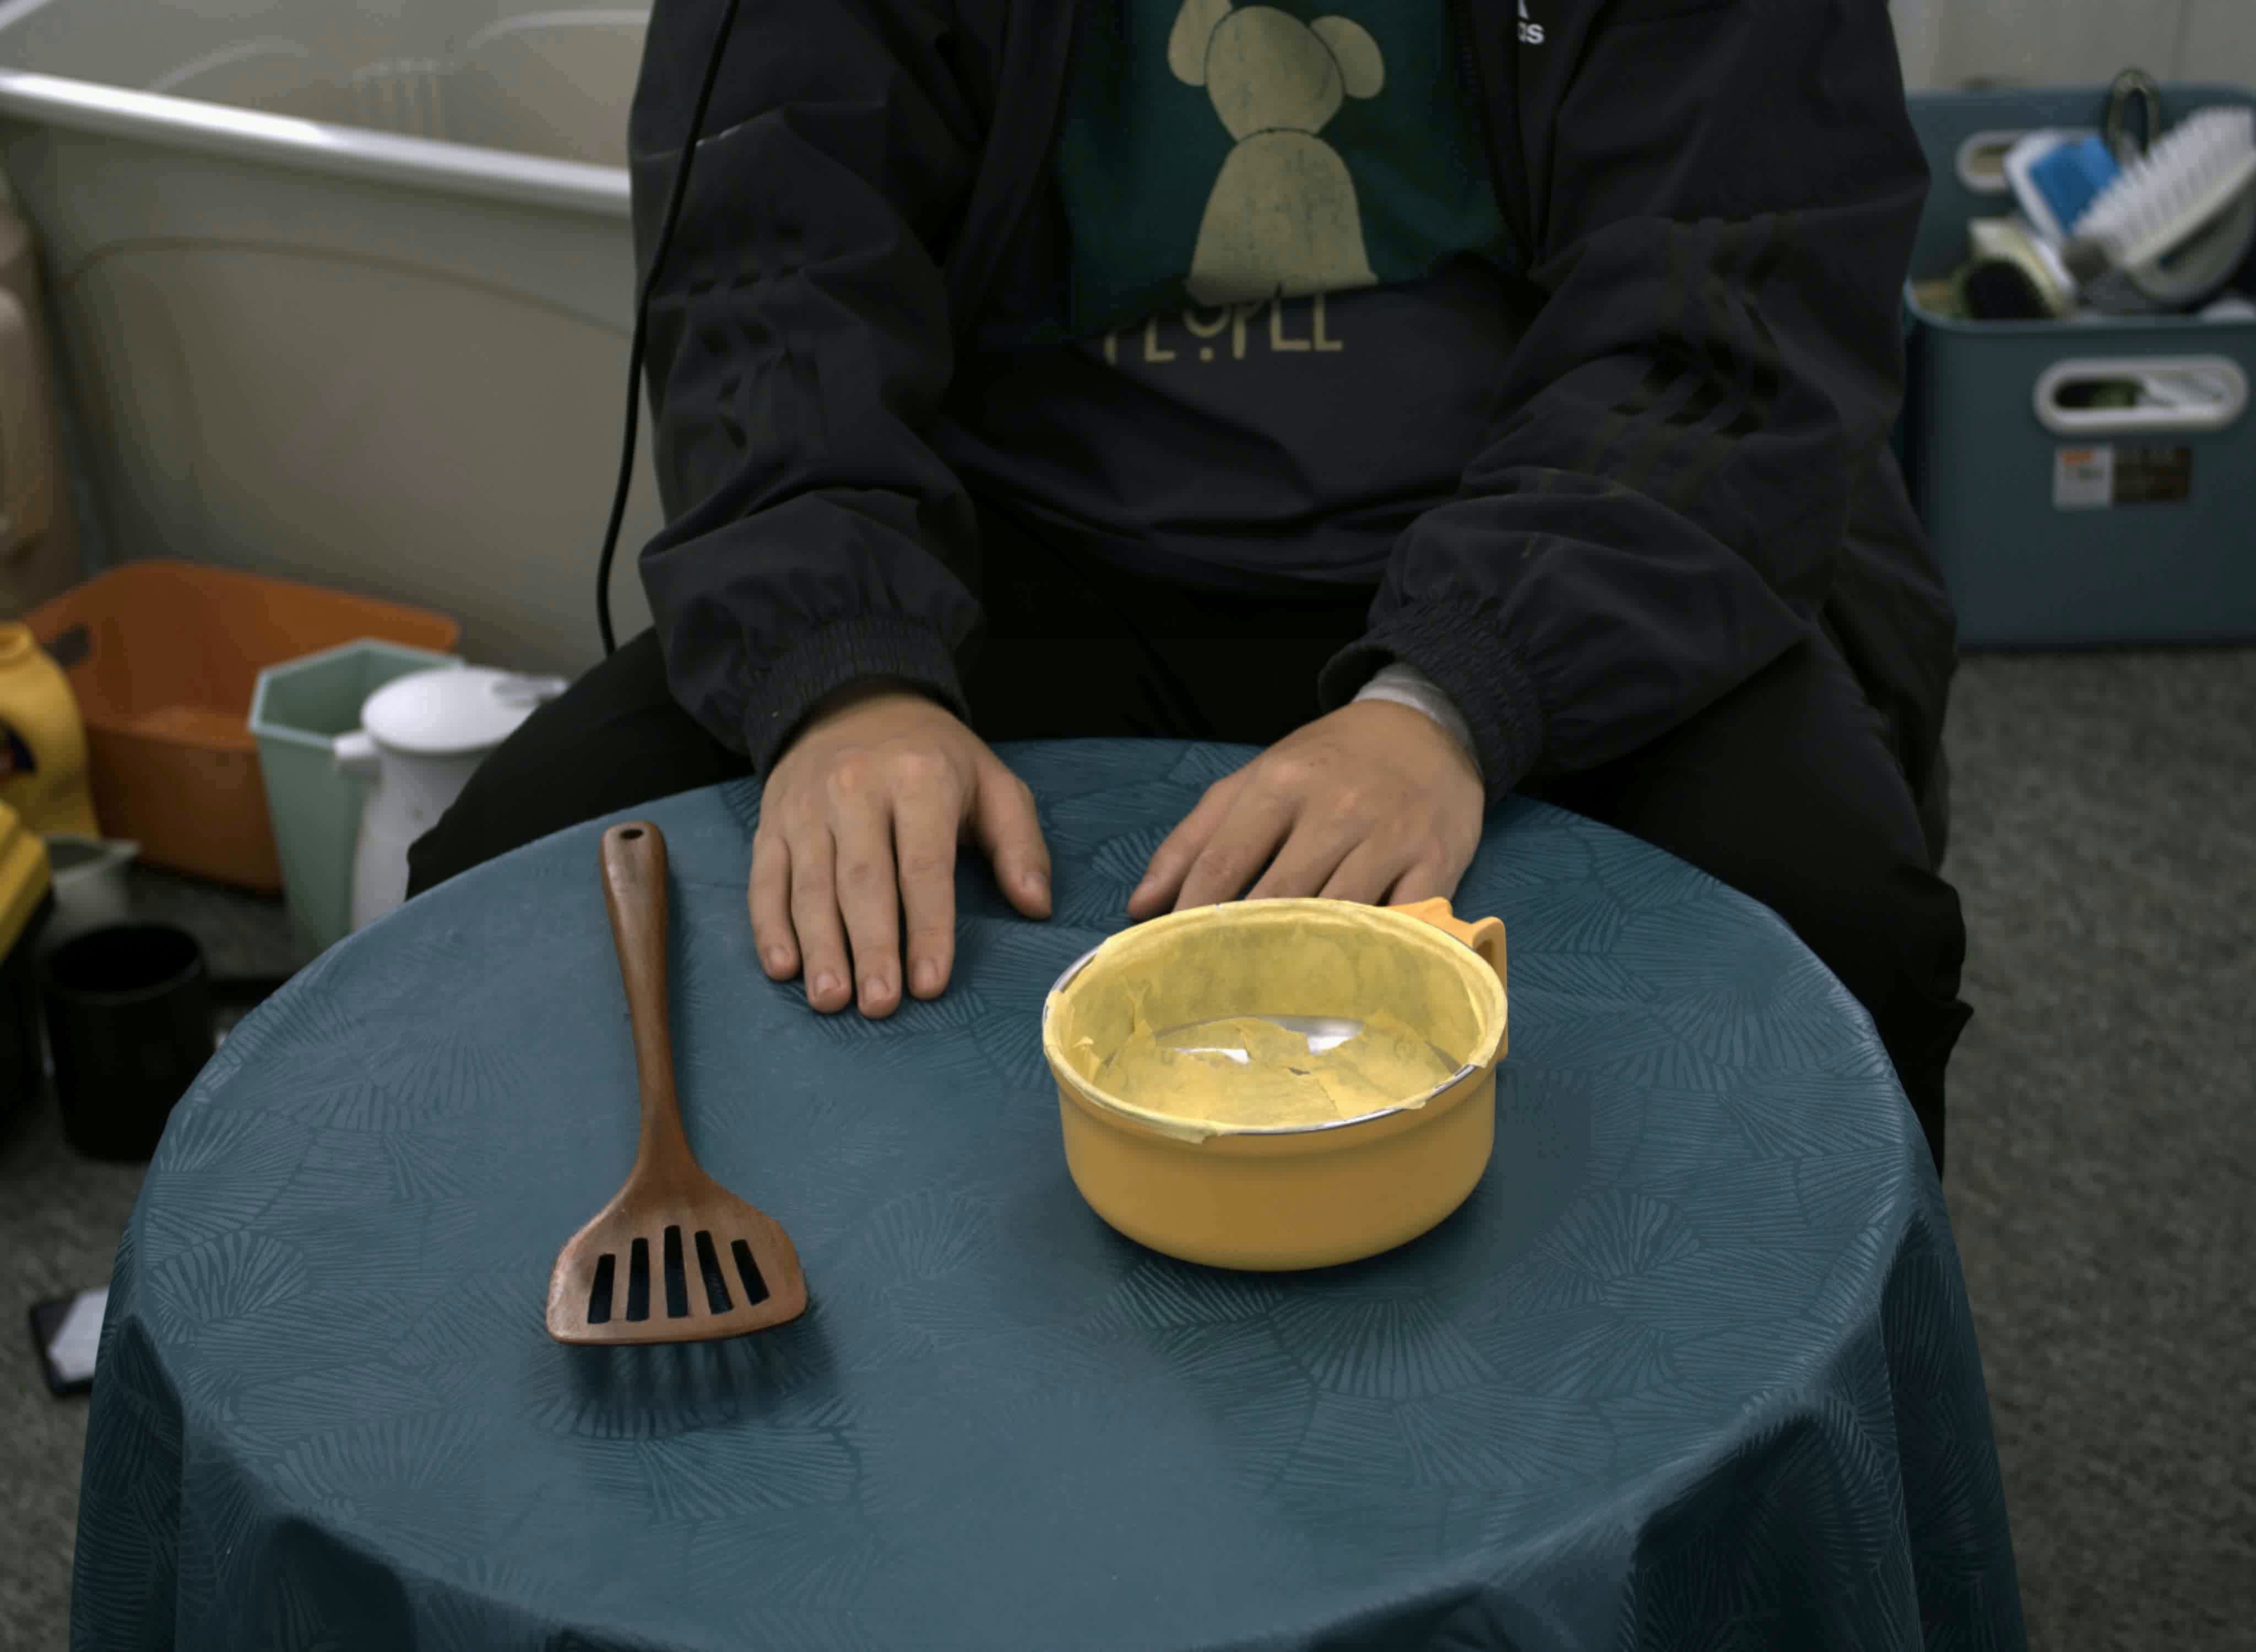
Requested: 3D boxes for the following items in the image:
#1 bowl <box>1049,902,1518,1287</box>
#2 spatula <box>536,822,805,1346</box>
[{"bbox_3d":[0.060,0.087,1.854,0.152,0.073,0.182,18,35,33],"label":"bowl"},{"bbox_3d":[-0.158,0.087,1.921,0.085,0.024,0.392,-4,26,-4],"label":"spatula"}]
